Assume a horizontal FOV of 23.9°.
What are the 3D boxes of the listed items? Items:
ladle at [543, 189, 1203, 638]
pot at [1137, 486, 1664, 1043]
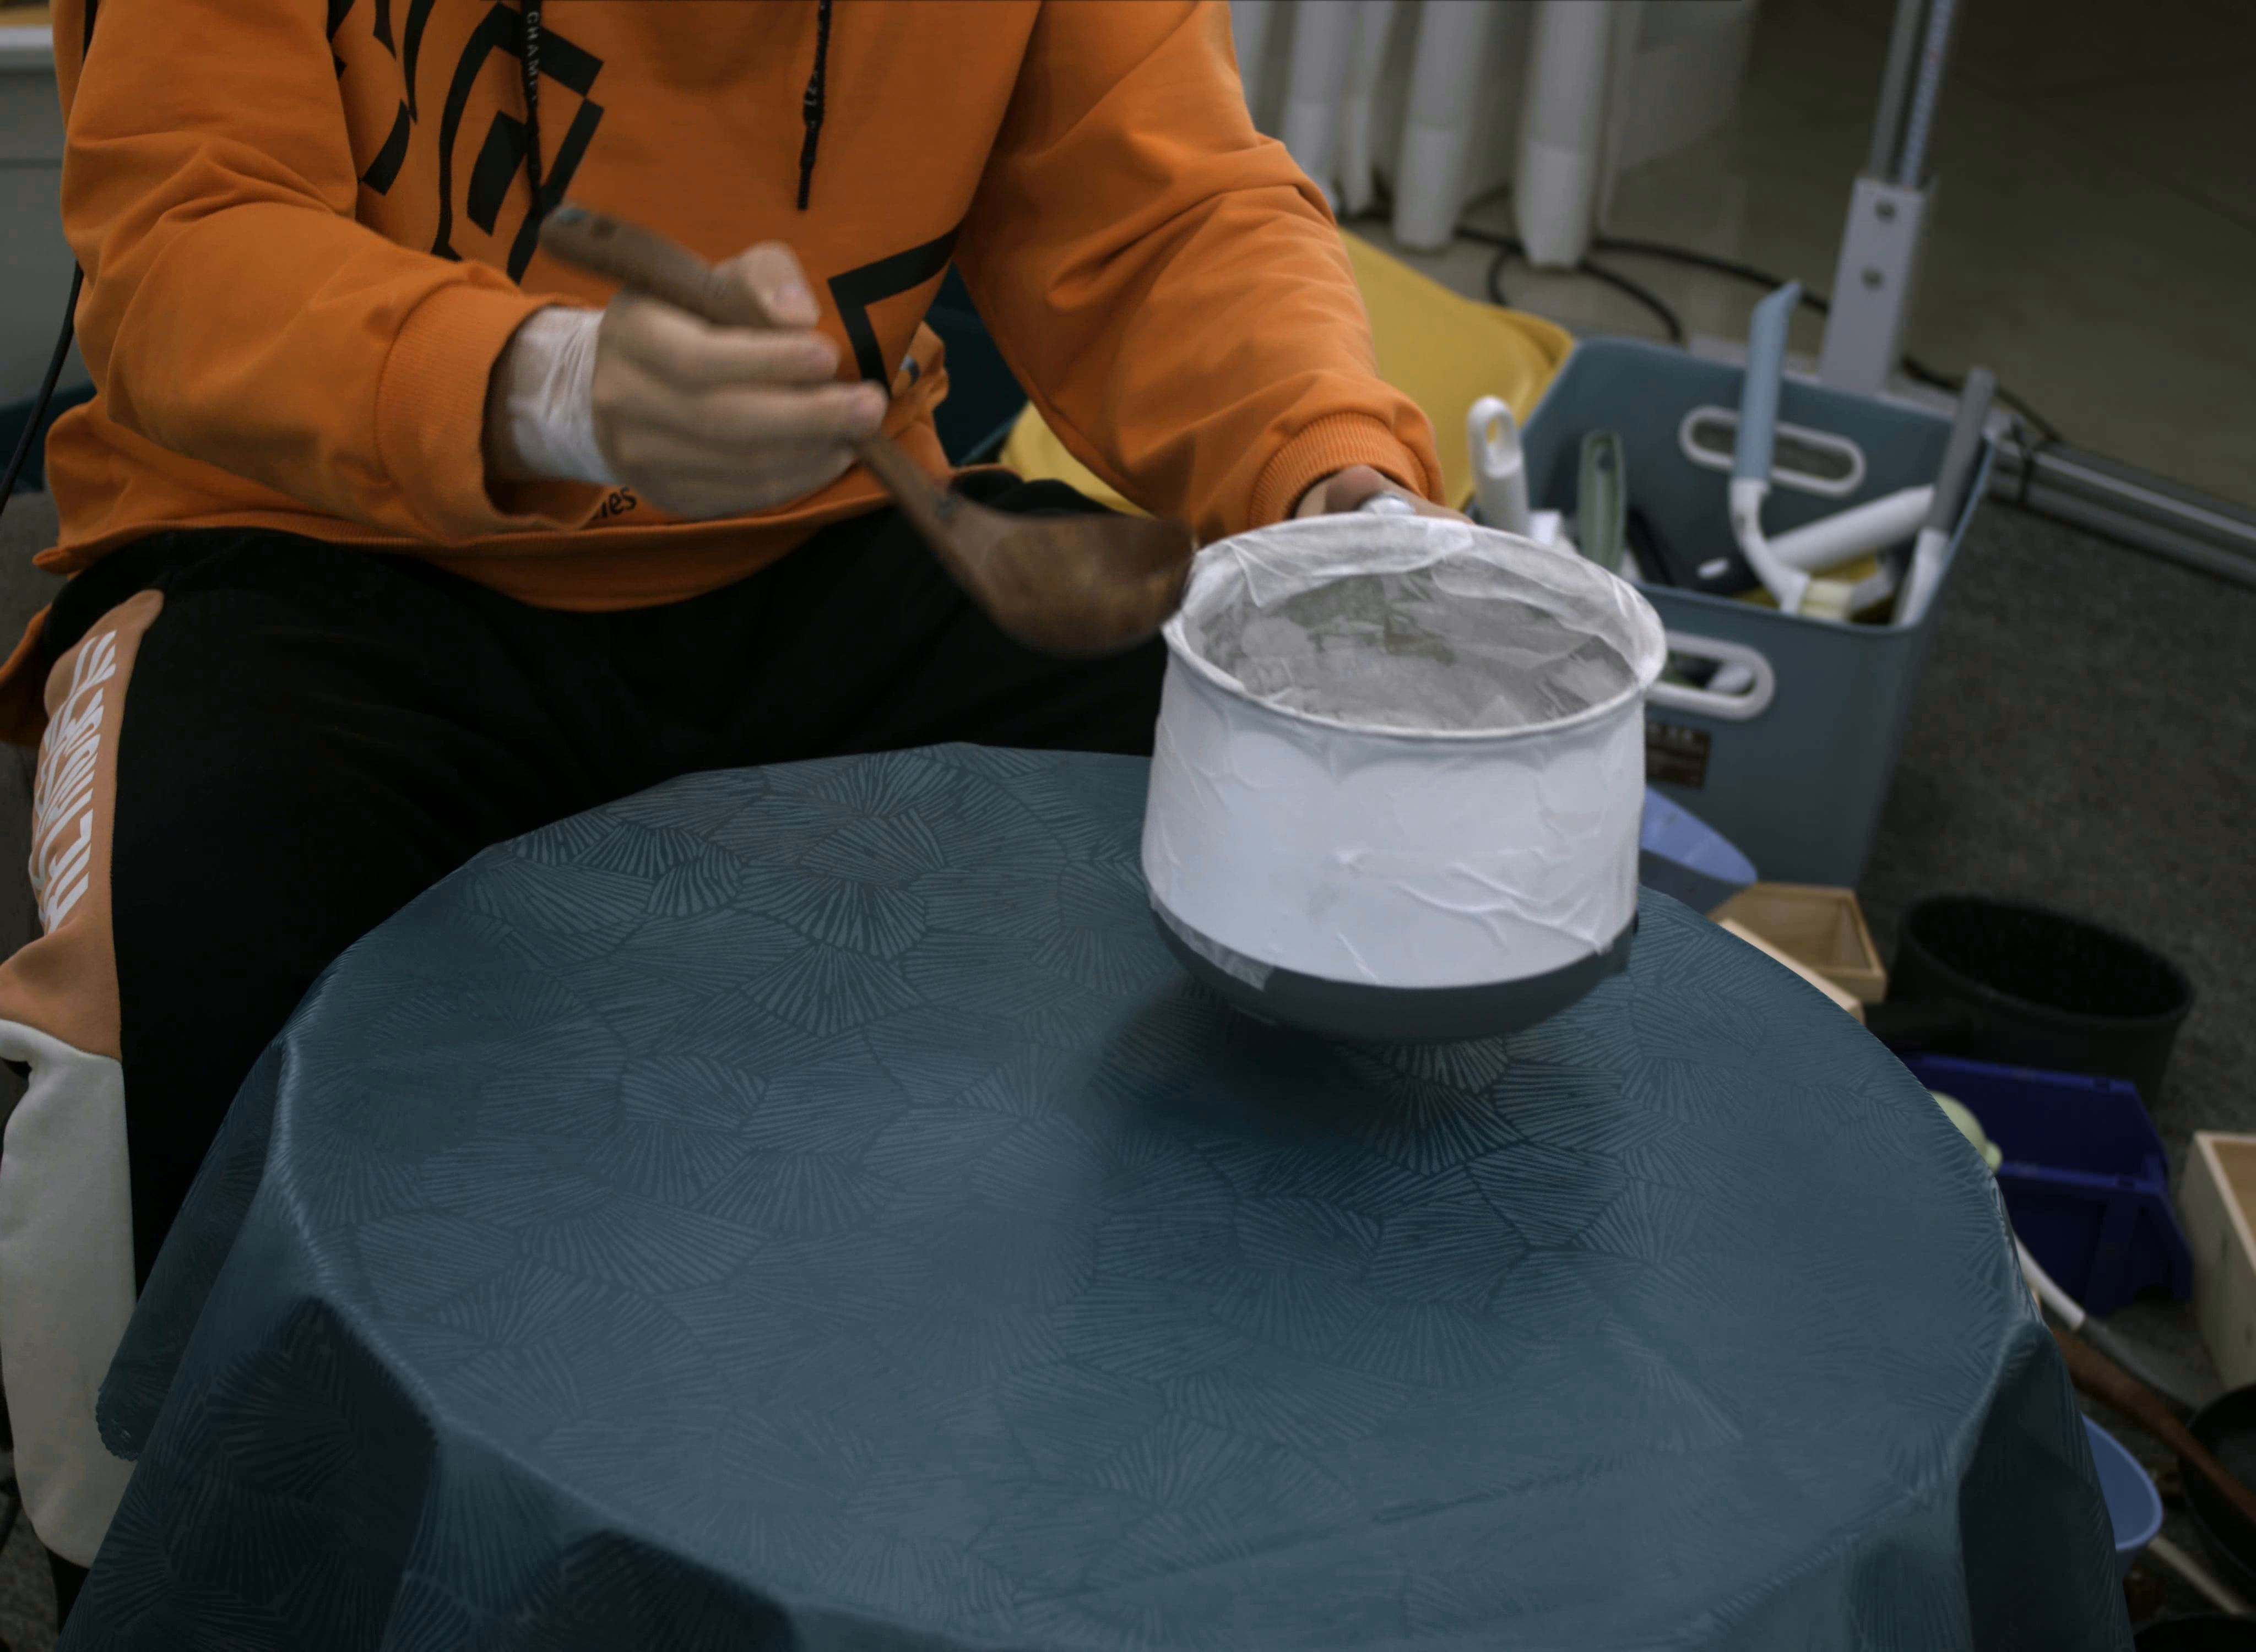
[{"bbox_3d":[-0.087,-0.150,1.788,0.261,0.065,0.076,40,34,9],"label":"ladle"},{"bbox_3d":[0.091,-0.029,1.889,0.178,0.136,0.235,1,27,-5],"label":"pot"}]
